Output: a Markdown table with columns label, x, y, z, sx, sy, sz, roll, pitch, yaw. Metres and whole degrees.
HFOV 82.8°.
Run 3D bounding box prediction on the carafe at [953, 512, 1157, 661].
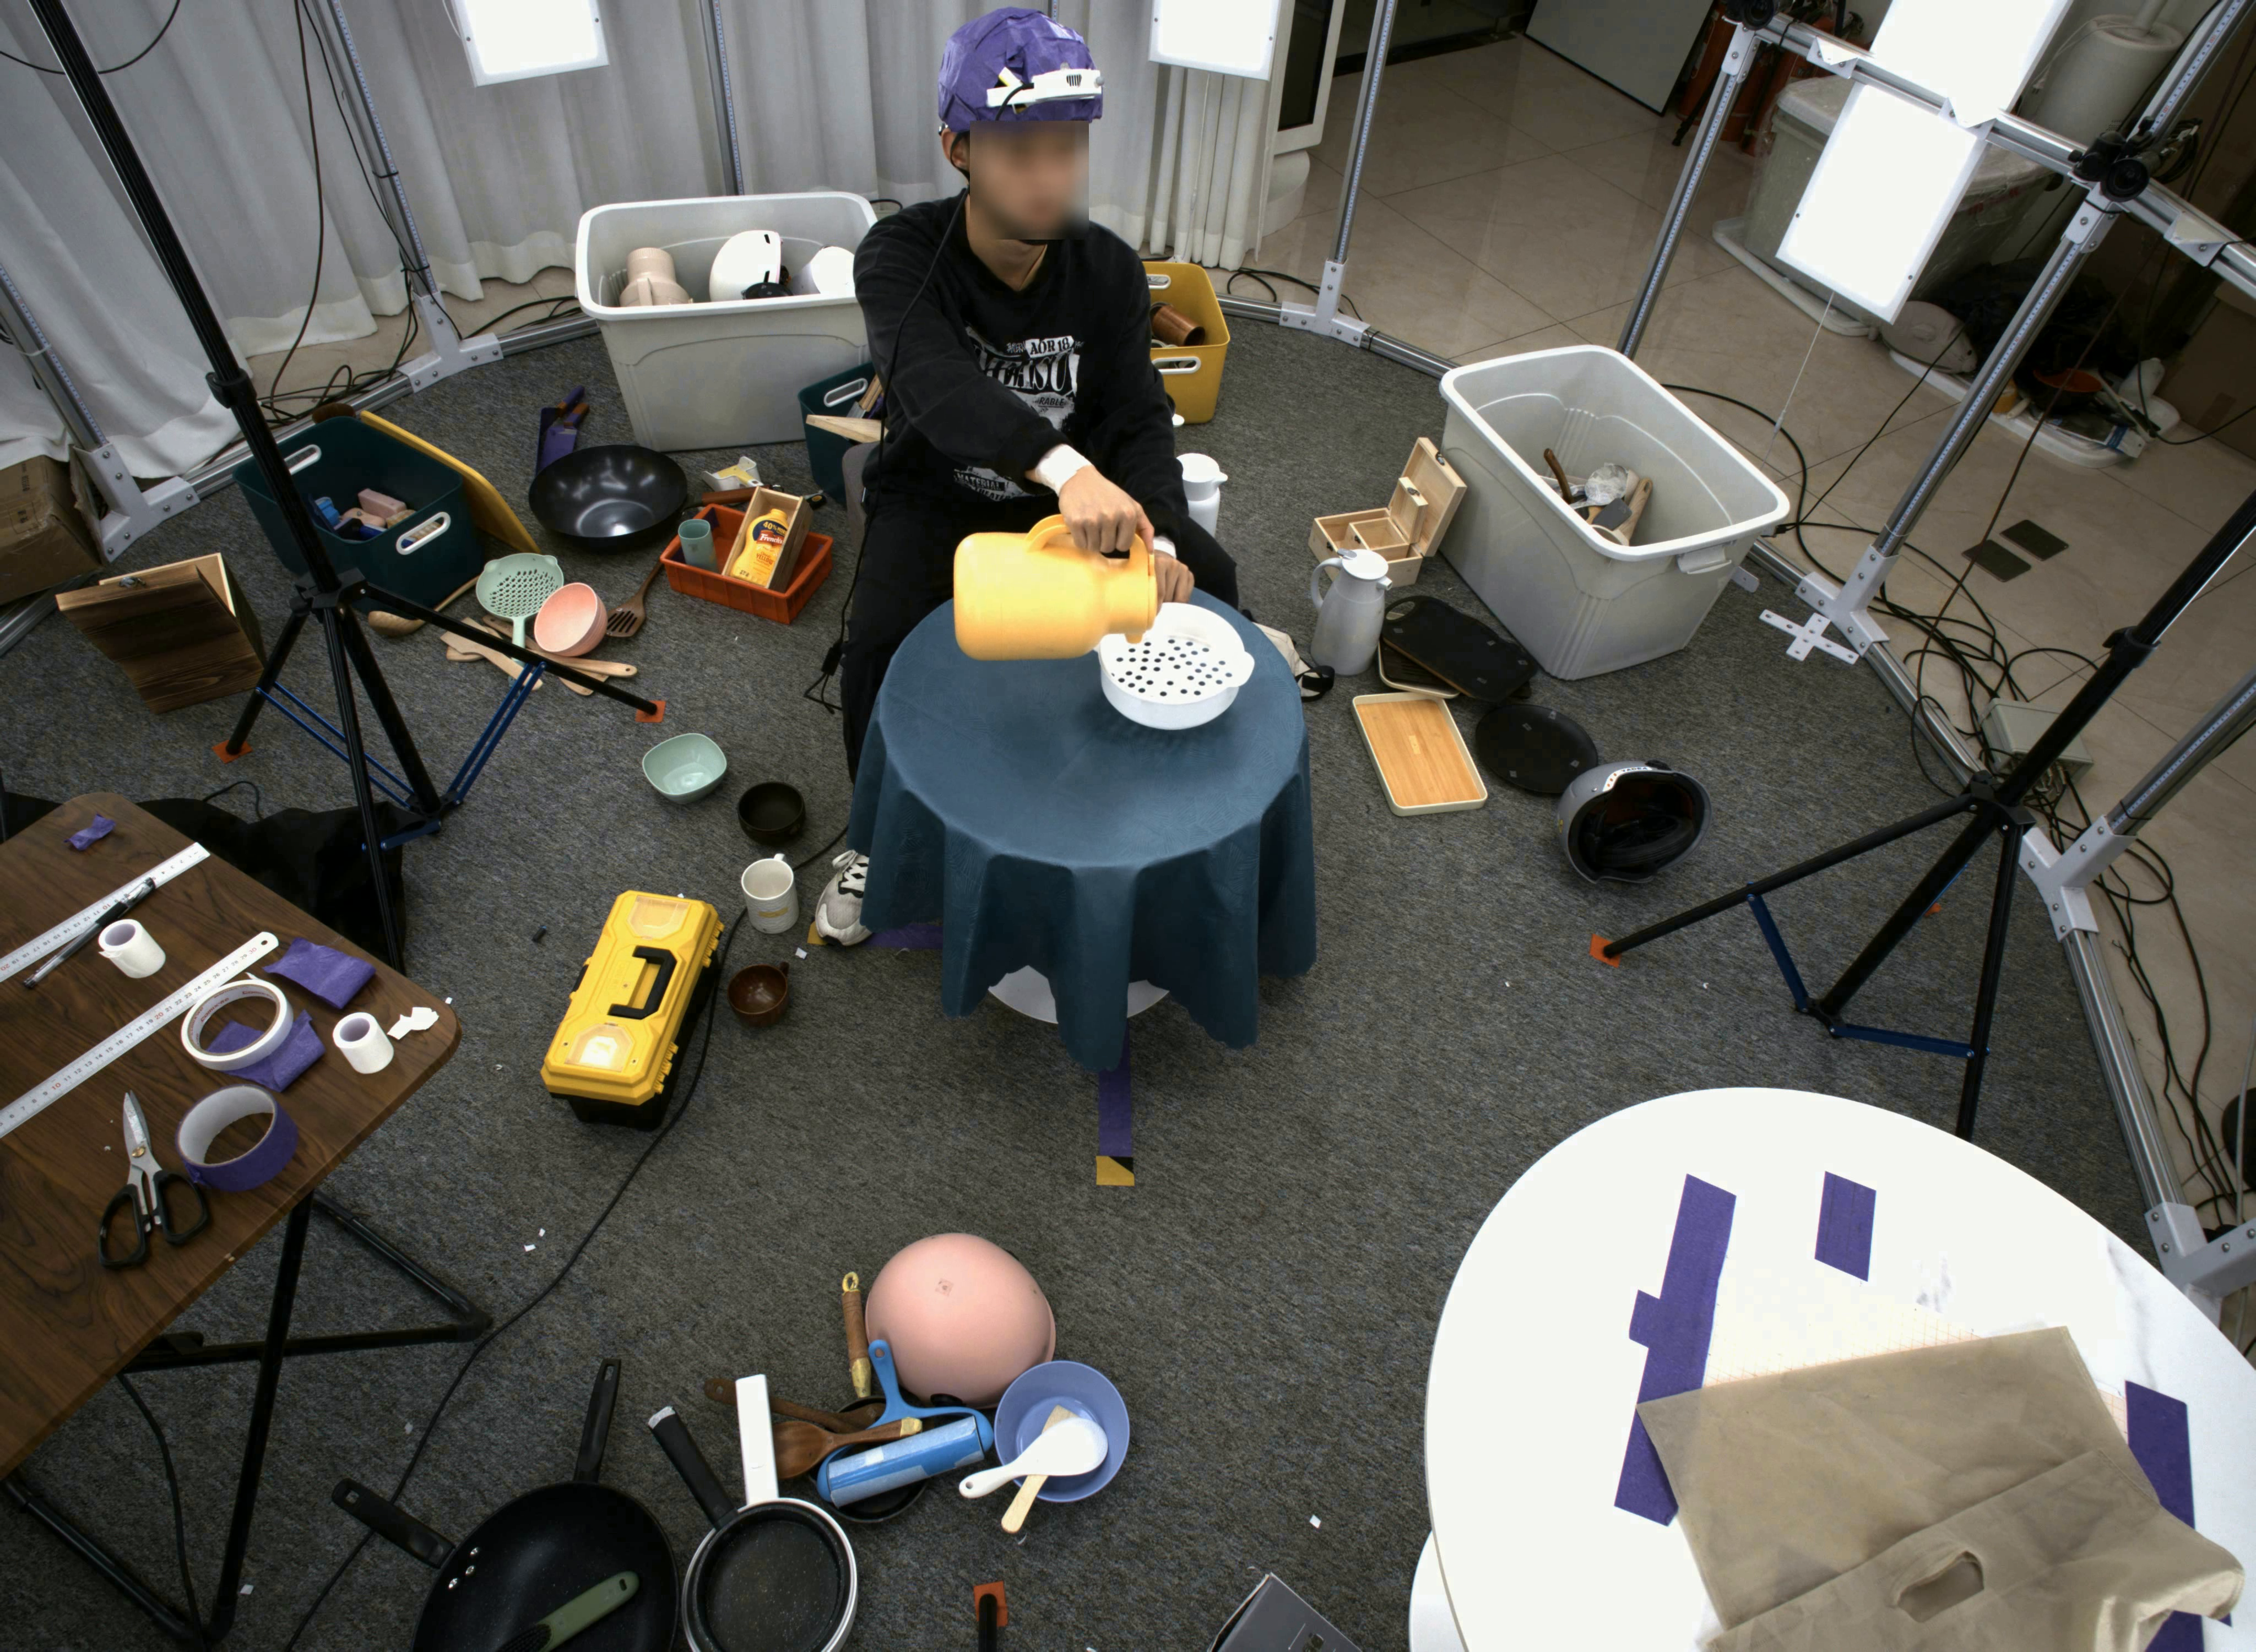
| label | x | y | z | sx | sy | sz | roll | pitch | yaw |
| --- | --- | --- | --- | --- | --- | --- | --- | --- | --- |
| carafe | -0.092 | -0.309 | 1.640 | 0.260 | 0.197 | 0.167 | -2 | 44 | -7 |

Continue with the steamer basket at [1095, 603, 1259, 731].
| label | x | y | z | sx | sy | sz | roll | pitch | yaw |
| --- | --- | --- | --- | --- | --- | --- | --- | --- | --- |
| steamer basket | 0.064 | -0.220 | 1.777 | 0.231 | 0.067 | 0.206 | 18 | 51 | 11 |
